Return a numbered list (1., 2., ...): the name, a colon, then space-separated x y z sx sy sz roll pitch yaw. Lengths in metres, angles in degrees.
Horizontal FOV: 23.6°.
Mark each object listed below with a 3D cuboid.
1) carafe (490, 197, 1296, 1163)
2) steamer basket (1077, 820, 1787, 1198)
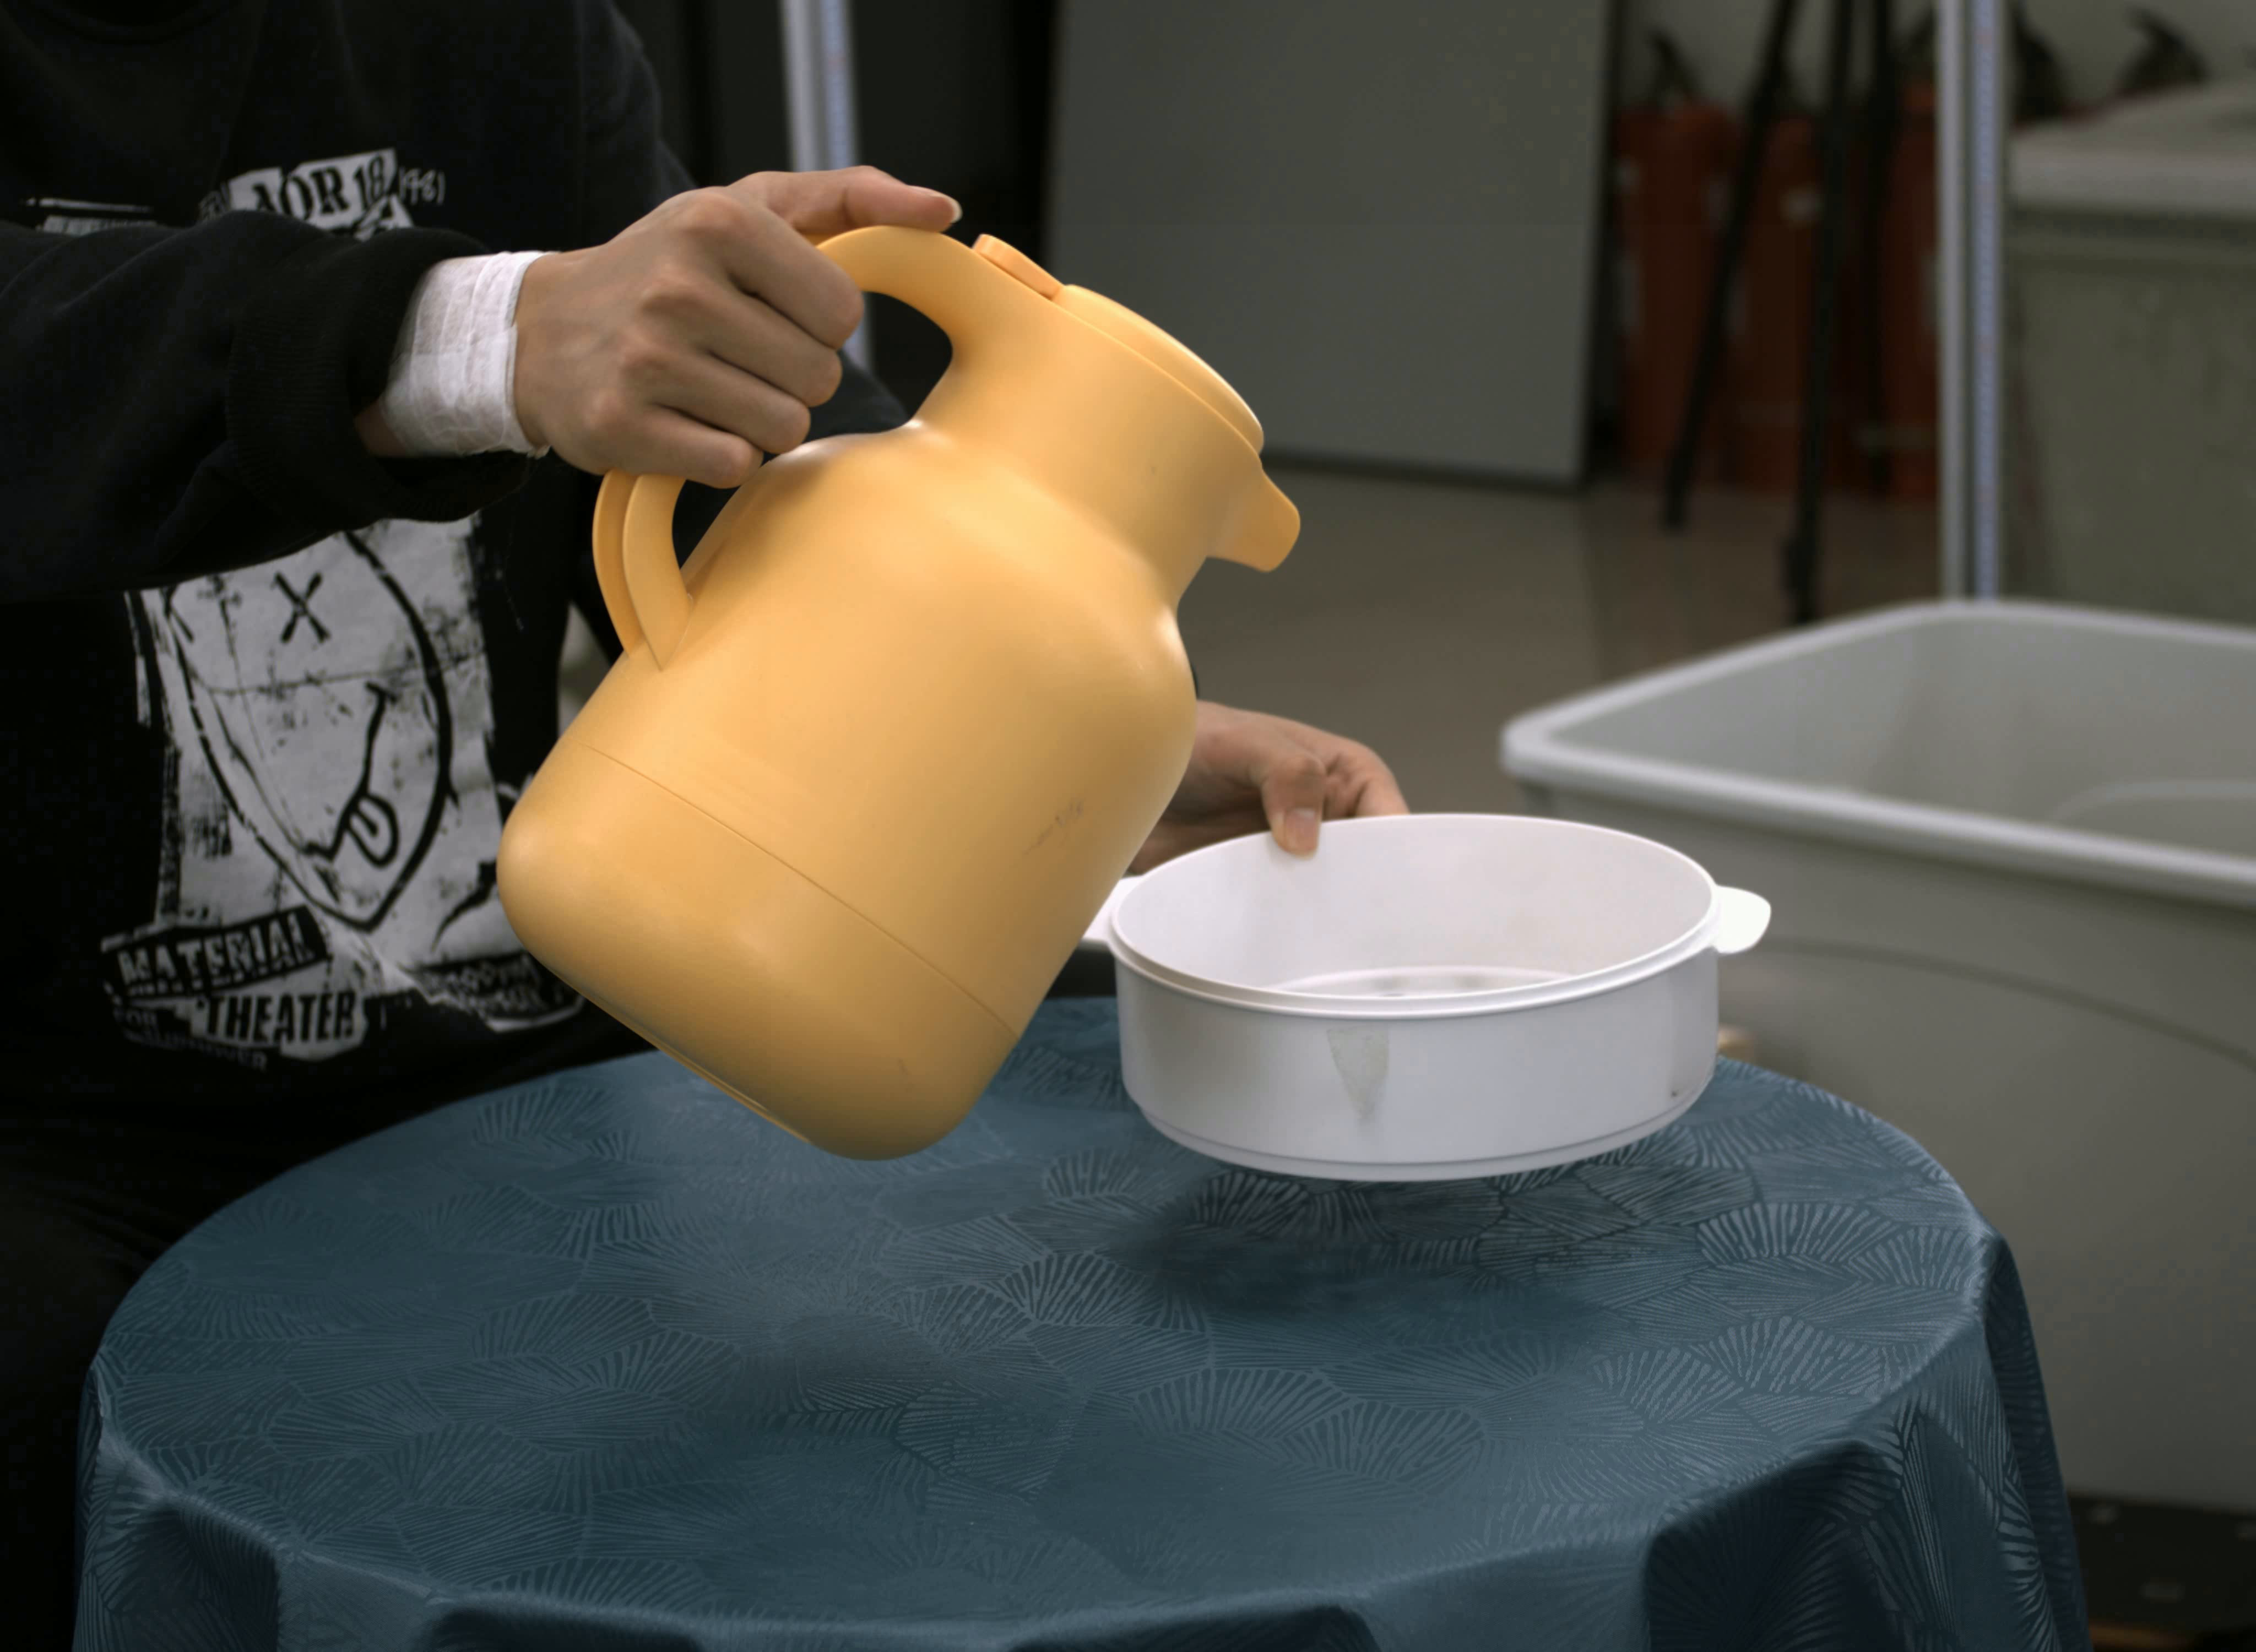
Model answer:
1. carafe: -0.079 -0.052 1.597 0.200 0.261 0.165 36 -8 -23
2. steamer basket: 0.098 0.058 1.731 0.229 0.070 0.200 0 17 16
